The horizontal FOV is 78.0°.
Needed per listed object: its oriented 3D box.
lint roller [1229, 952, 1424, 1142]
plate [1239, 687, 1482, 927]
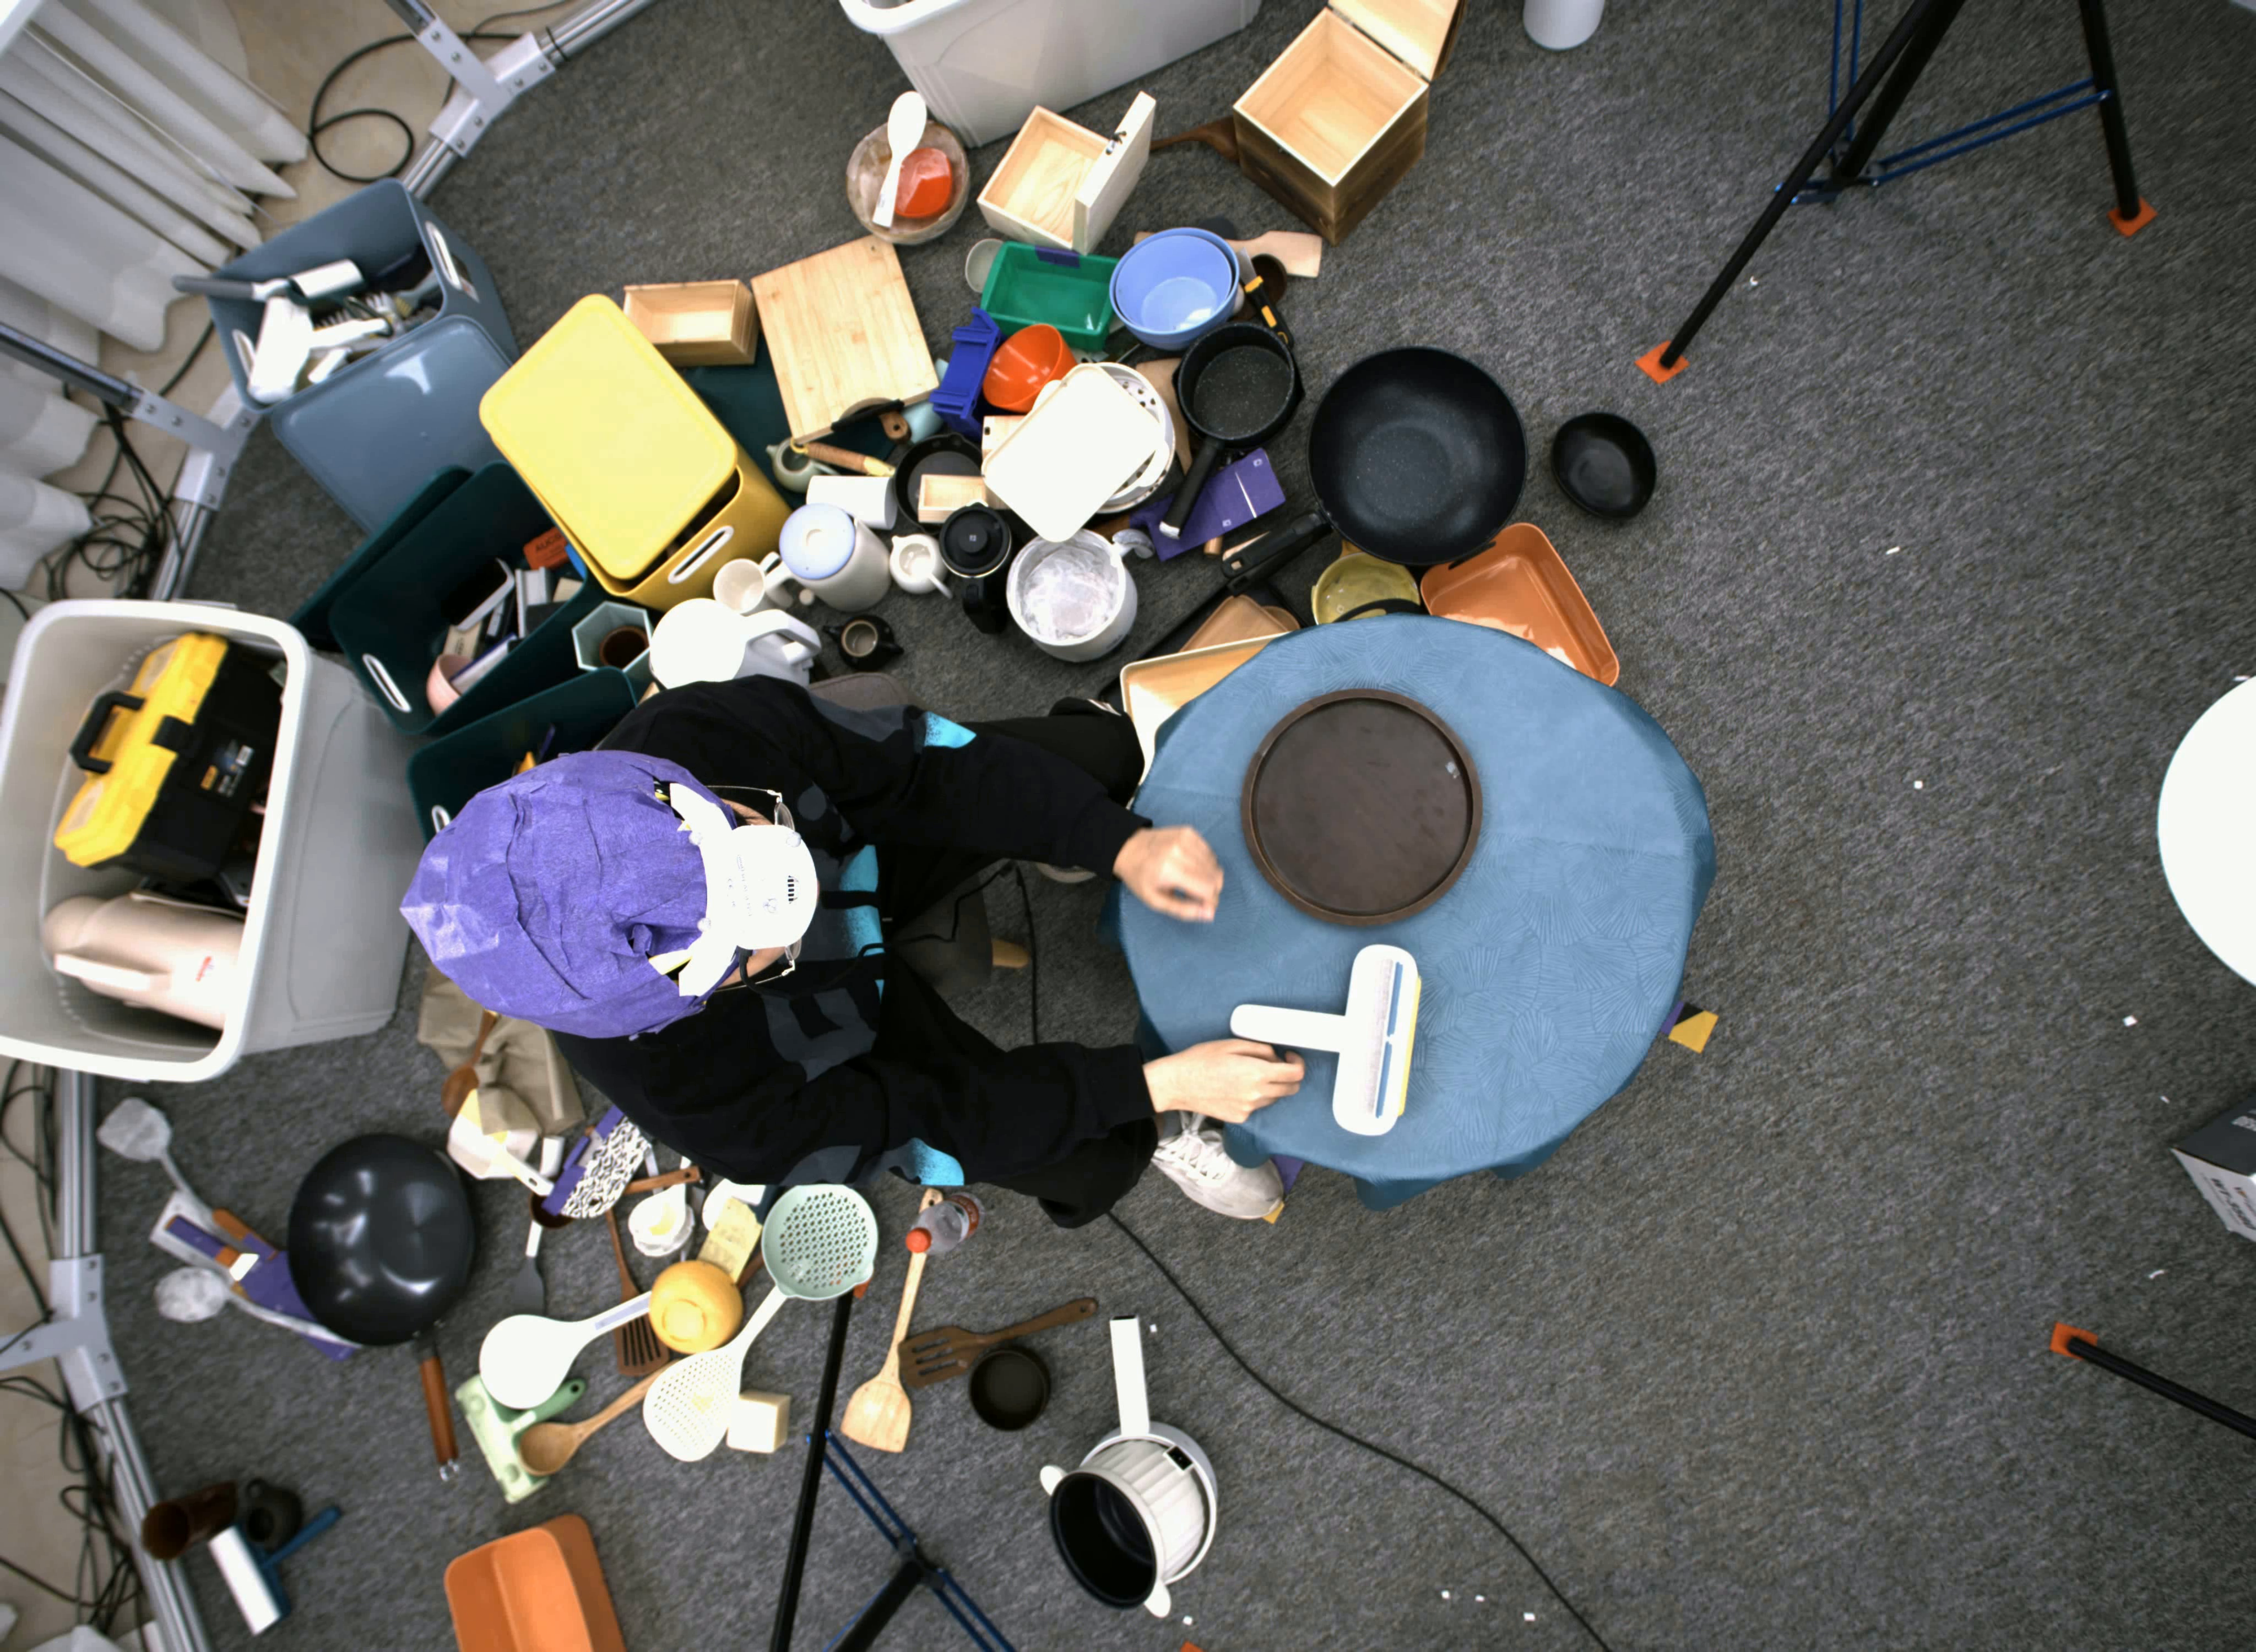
[{"bbox_3d":[0.196,0.213,1.428,0.193,0.074,0.191,12,83,13],"label":"lint roller"},{"bbox_3d":[0.244,-0.021,1.453,0.256,0.029,0.253,-1,87,11],"label":"plate"}]
